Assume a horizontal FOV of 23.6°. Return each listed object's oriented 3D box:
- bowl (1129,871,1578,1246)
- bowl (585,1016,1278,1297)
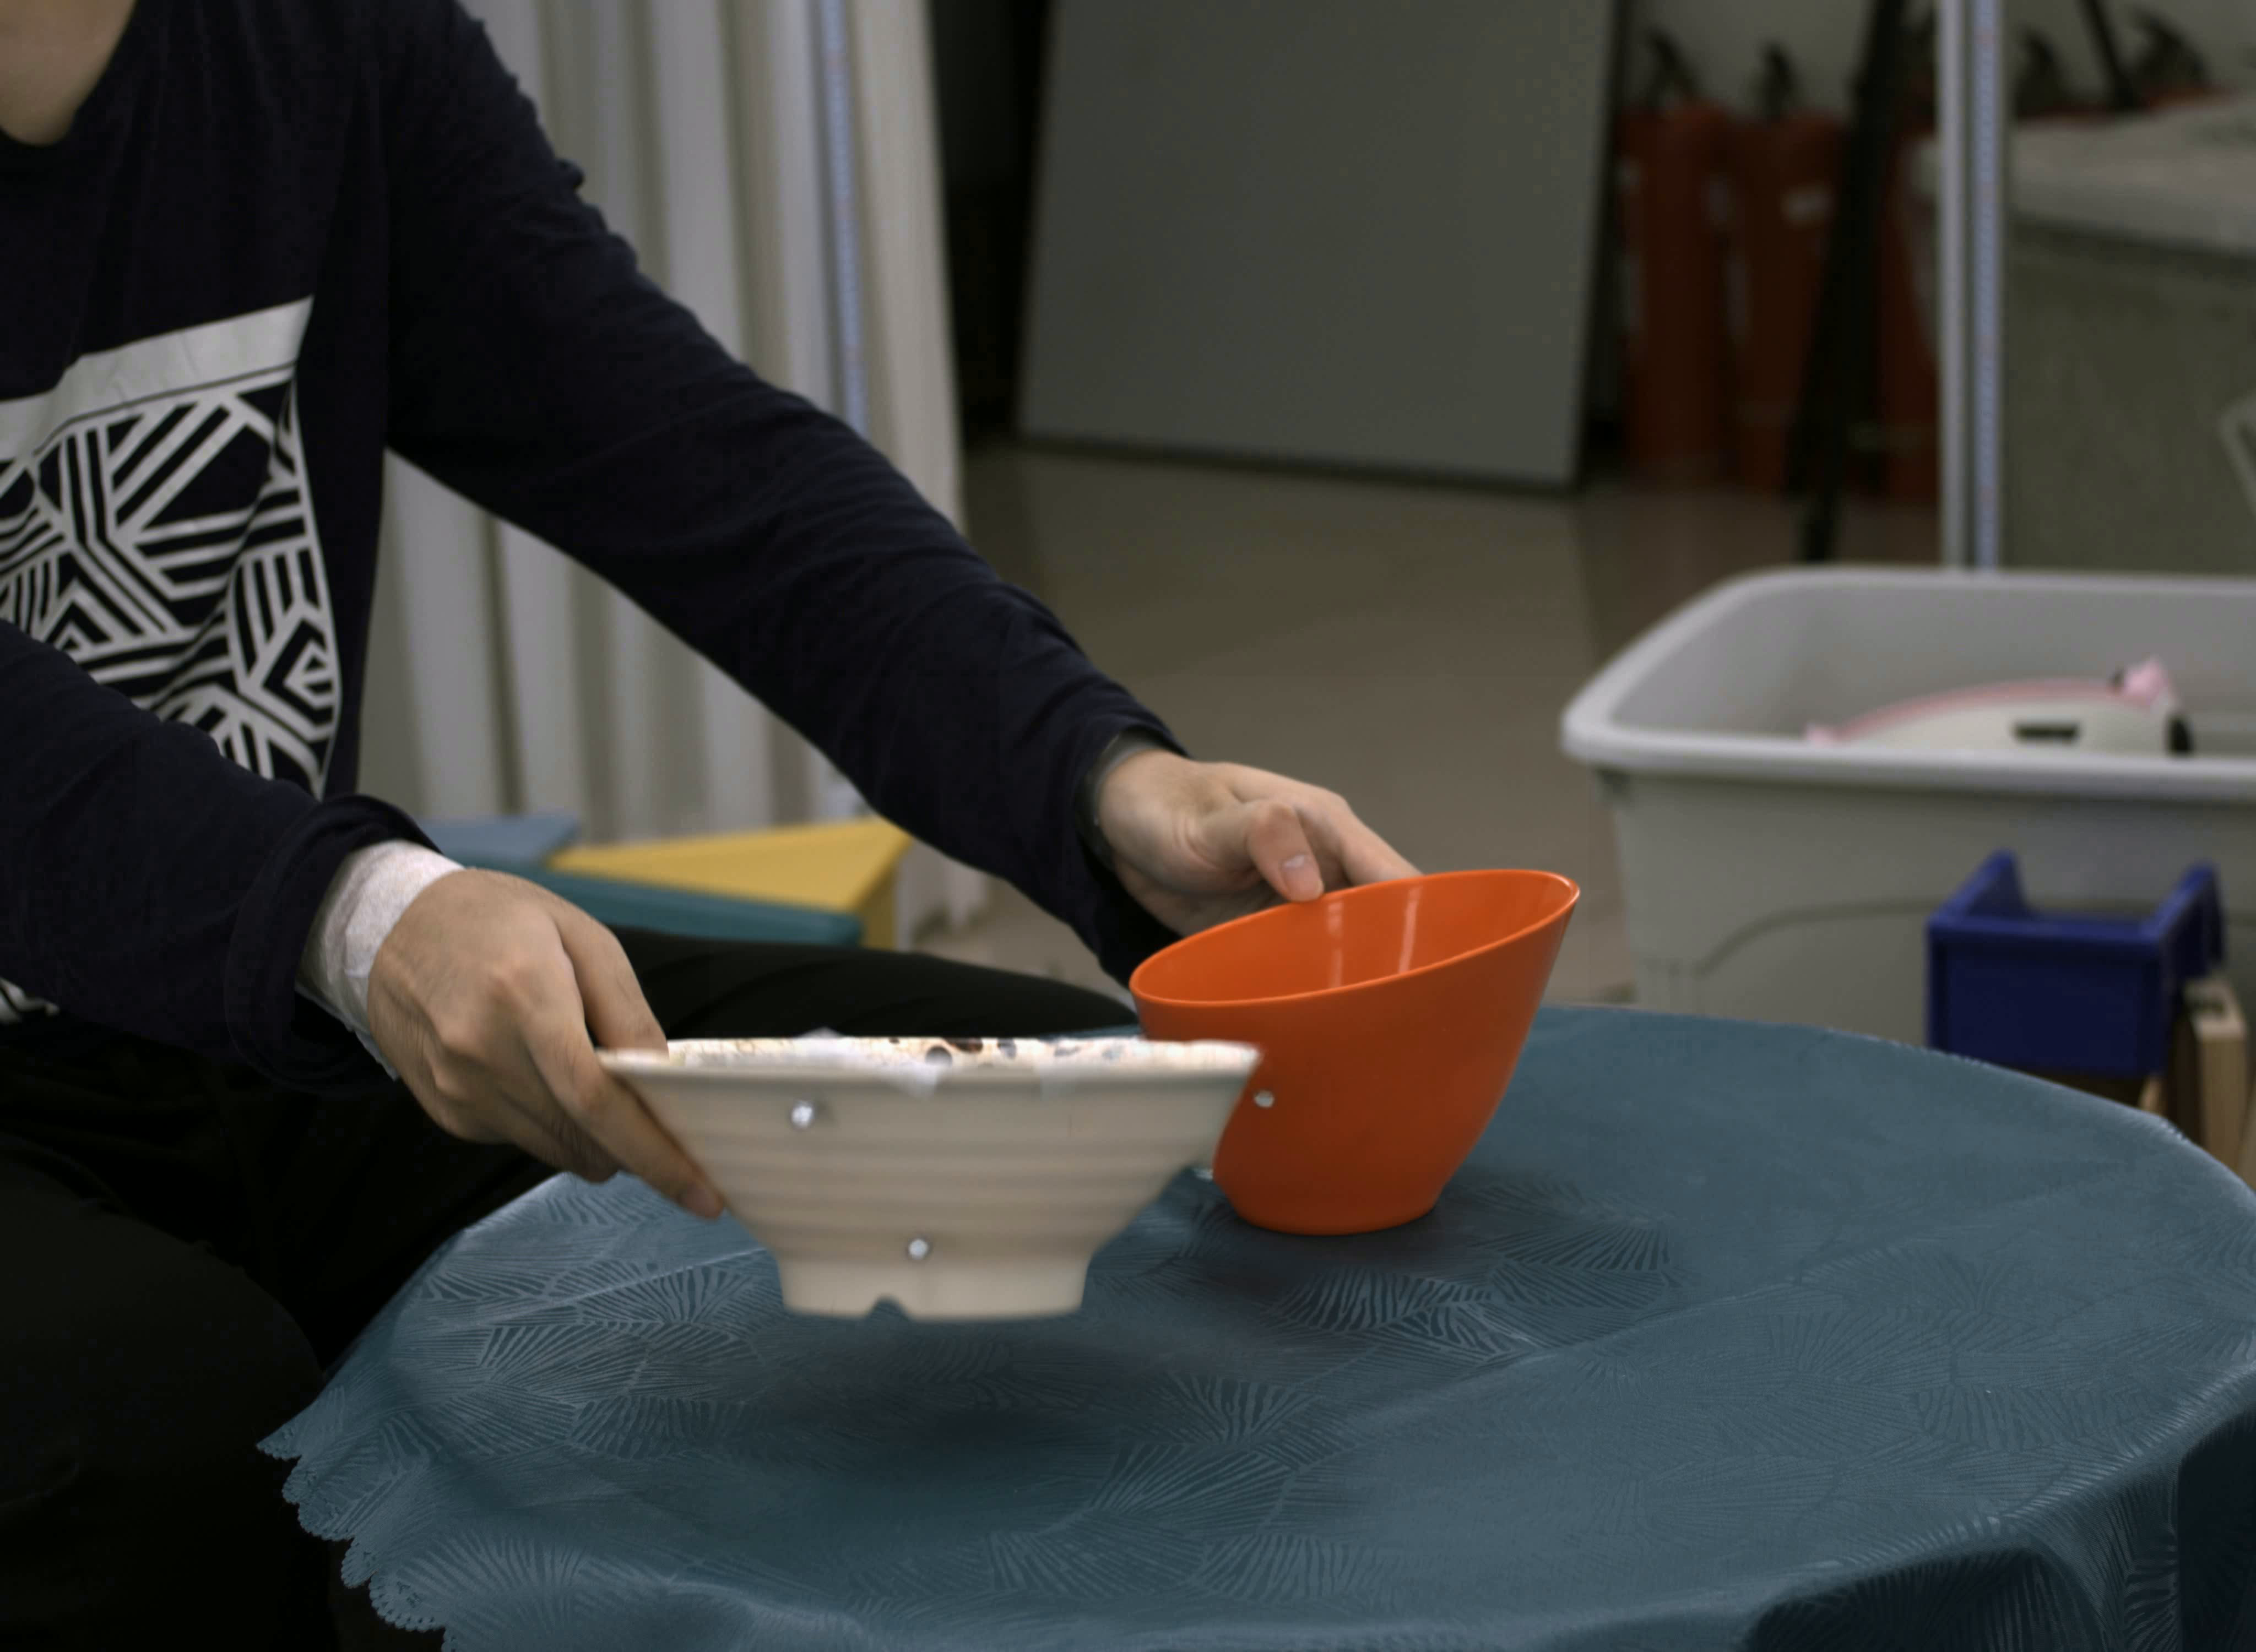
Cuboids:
[{"bbox_3d":[0.075,0.076,1.729,0.146,0.106,0.148,-6,13,0],"label":"bowl"},{"bbox_3d":[-0.056,0.097,1.566,0.201,0.079,0.204,0,-4,-1],"label":"bowl"}]
